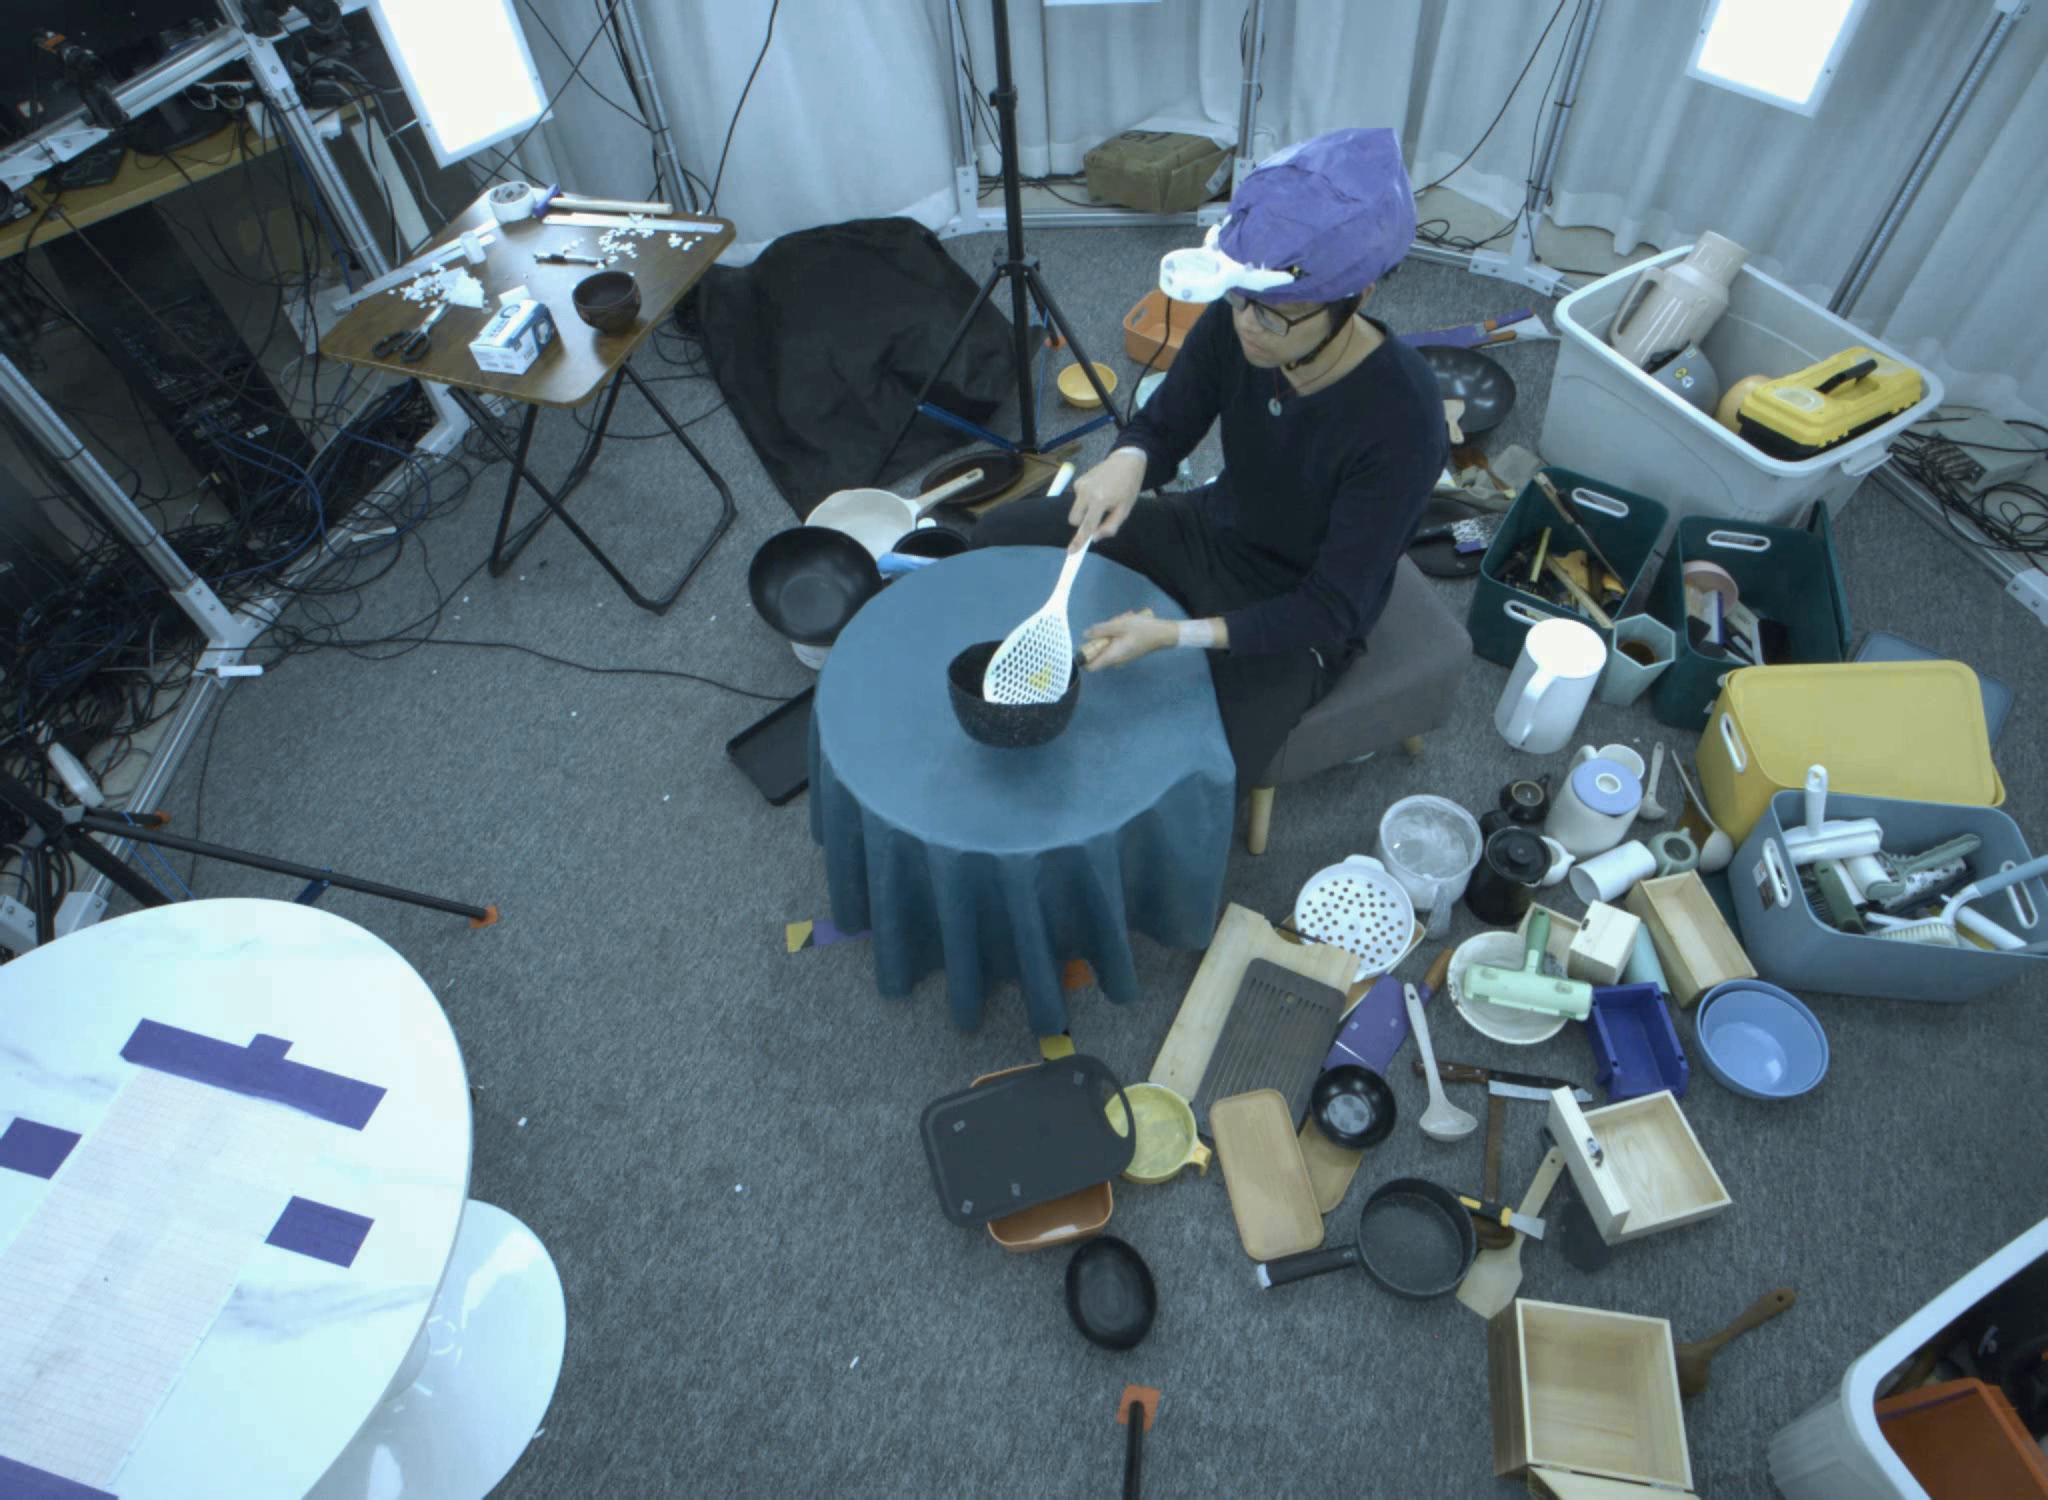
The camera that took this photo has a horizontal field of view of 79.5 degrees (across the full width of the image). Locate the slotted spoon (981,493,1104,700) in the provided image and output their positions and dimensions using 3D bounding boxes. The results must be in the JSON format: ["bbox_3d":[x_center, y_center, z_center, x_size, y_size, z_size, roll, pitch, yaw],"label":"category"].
[{"bbox_3d":[0.046,-0.195,1.712,0.134,0.051,0.348,24,101,29],"label":"slotted spoon"}]

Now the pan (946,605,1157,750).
[{"bbox_3d":[0.049,-0.111,1.748,0.347,0.109,0.202,-24,40,-30],"label":"pan"}]
